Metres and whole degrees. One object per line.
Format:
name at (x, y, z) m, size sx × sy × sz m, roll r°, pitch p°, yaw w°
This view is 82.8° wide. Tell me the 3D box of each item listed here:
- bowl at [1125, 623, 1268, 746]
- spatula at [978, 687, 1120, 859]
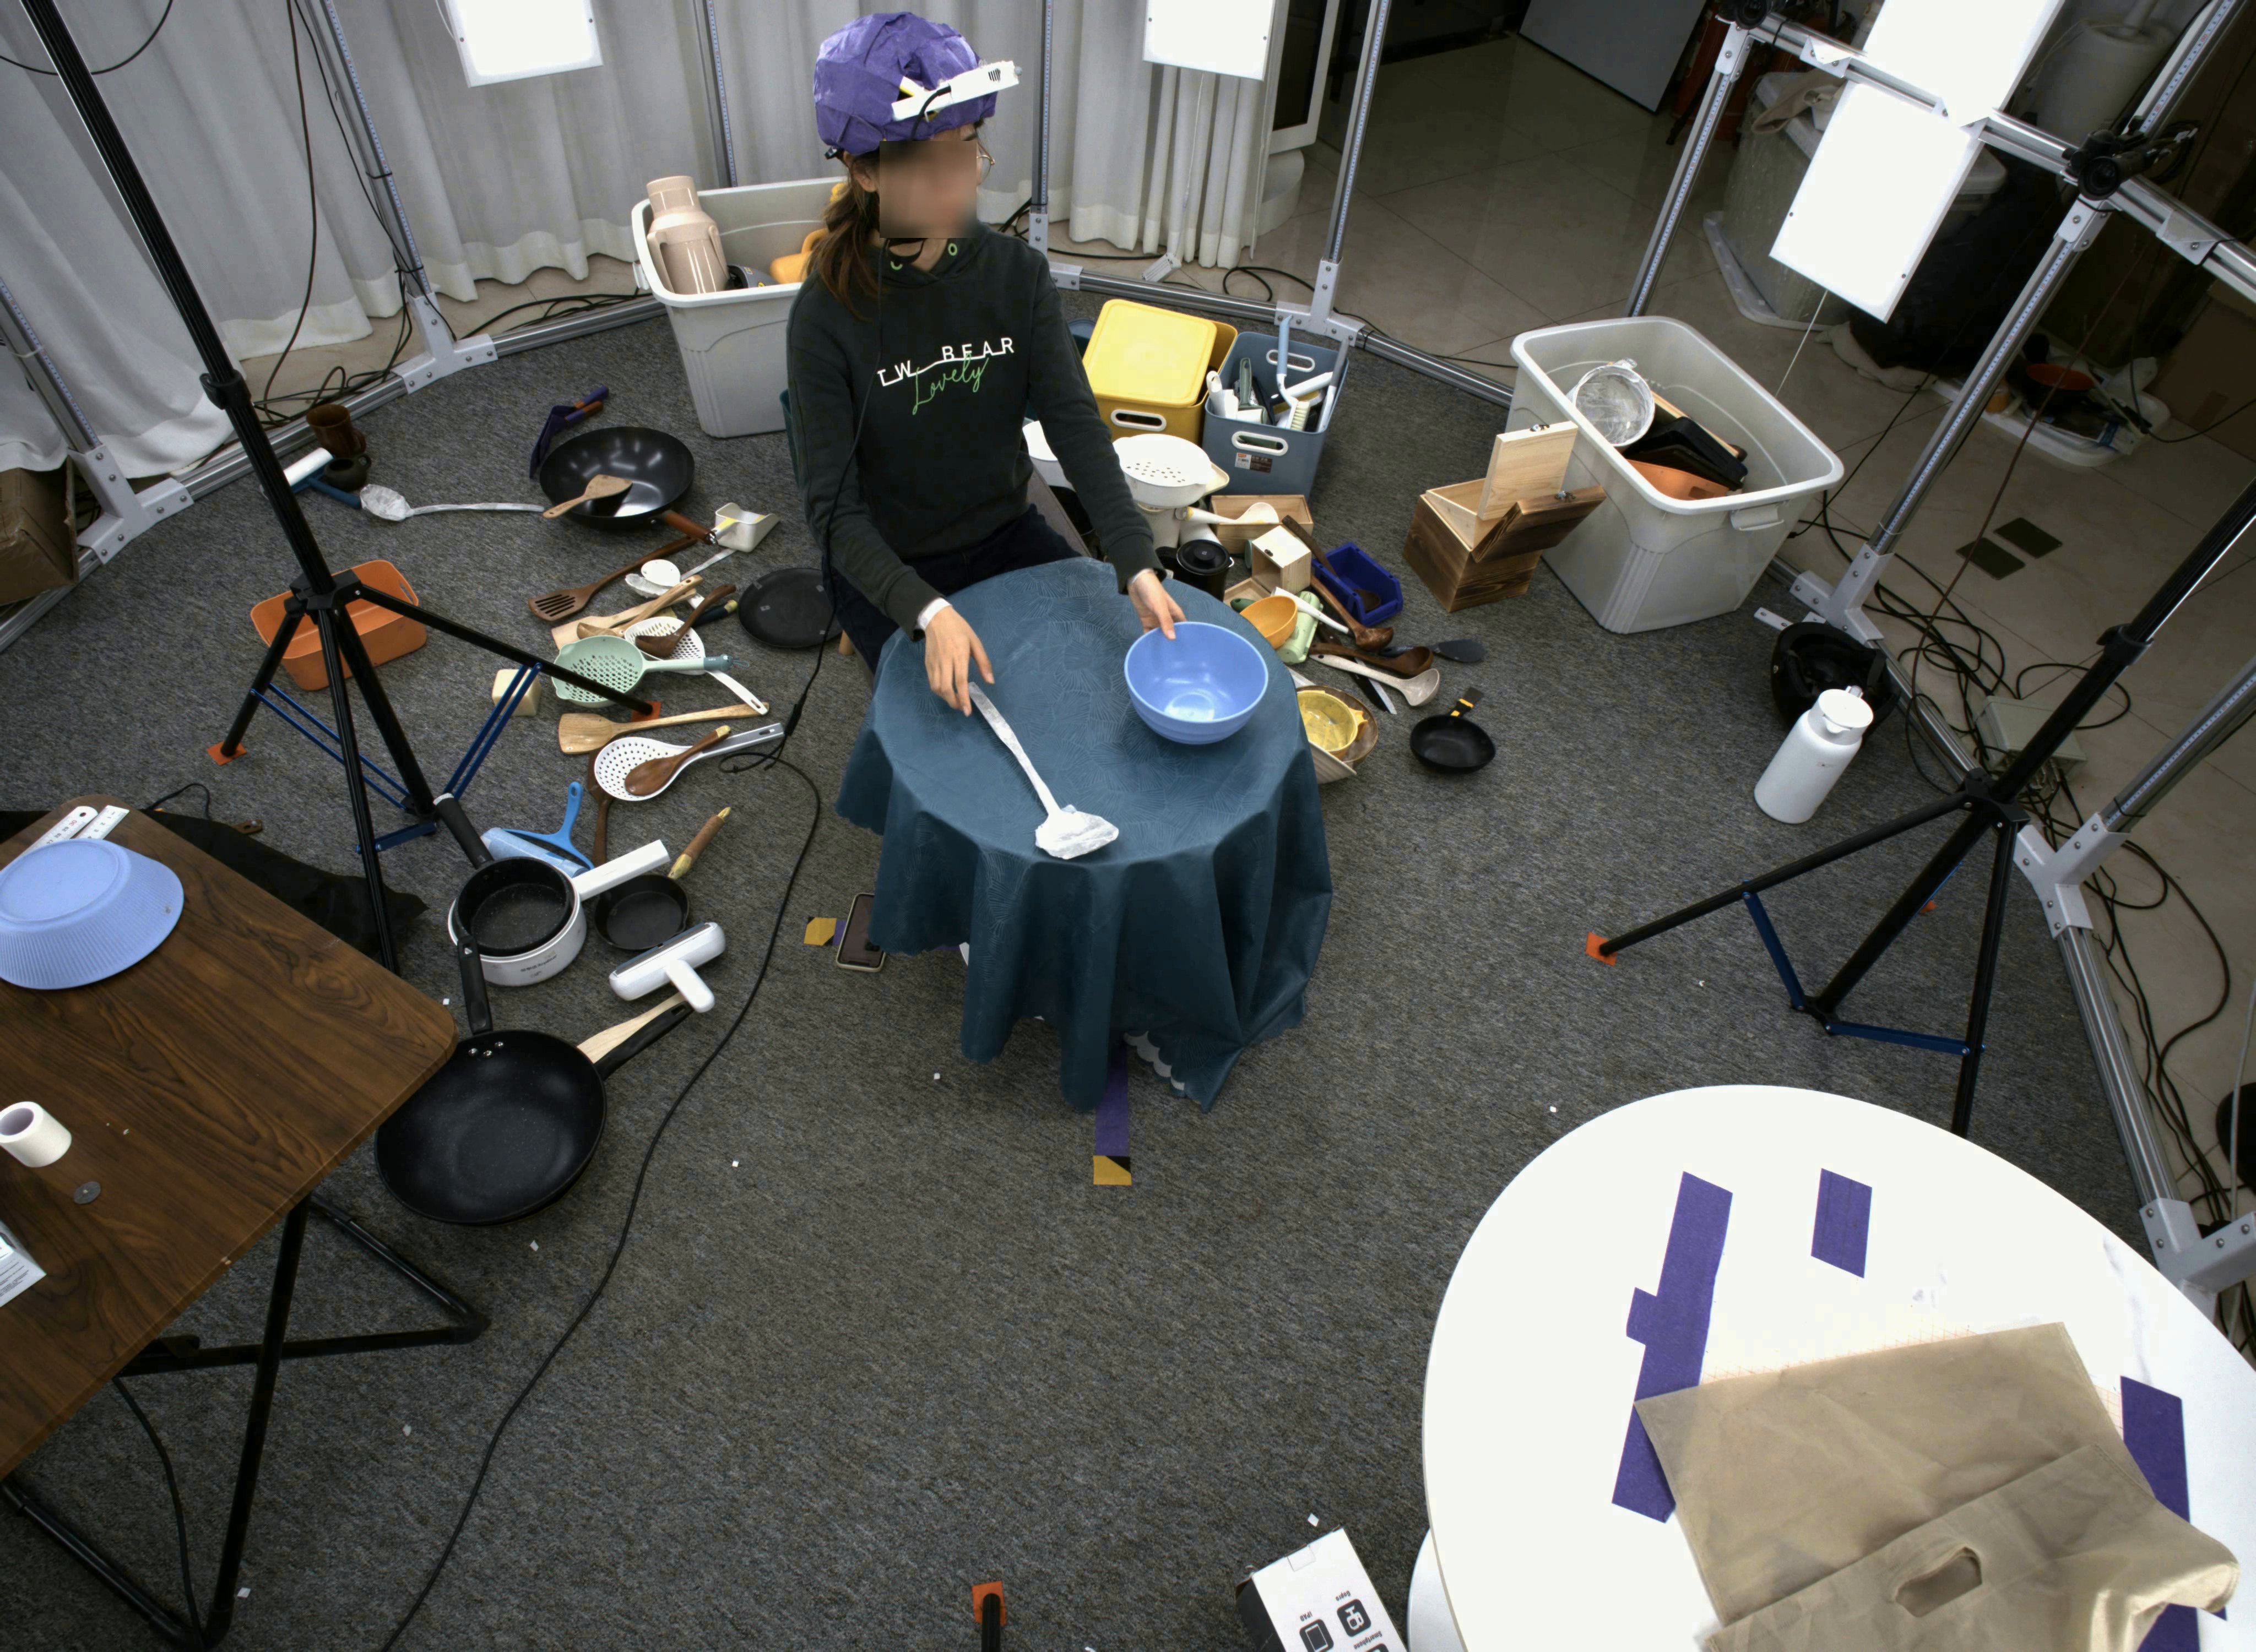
bowl at (0.091, -0.182, 1.787) m, size 0.196 × 0.093 × 0.201 m, roll 2°, pitch 50°, yaw -3°
spatula at (-0.129, -0.082, 1.721) m, size 0.099 × 0.043 × 0.373 m, roll -21°, pitch 53°, yaw -18°
